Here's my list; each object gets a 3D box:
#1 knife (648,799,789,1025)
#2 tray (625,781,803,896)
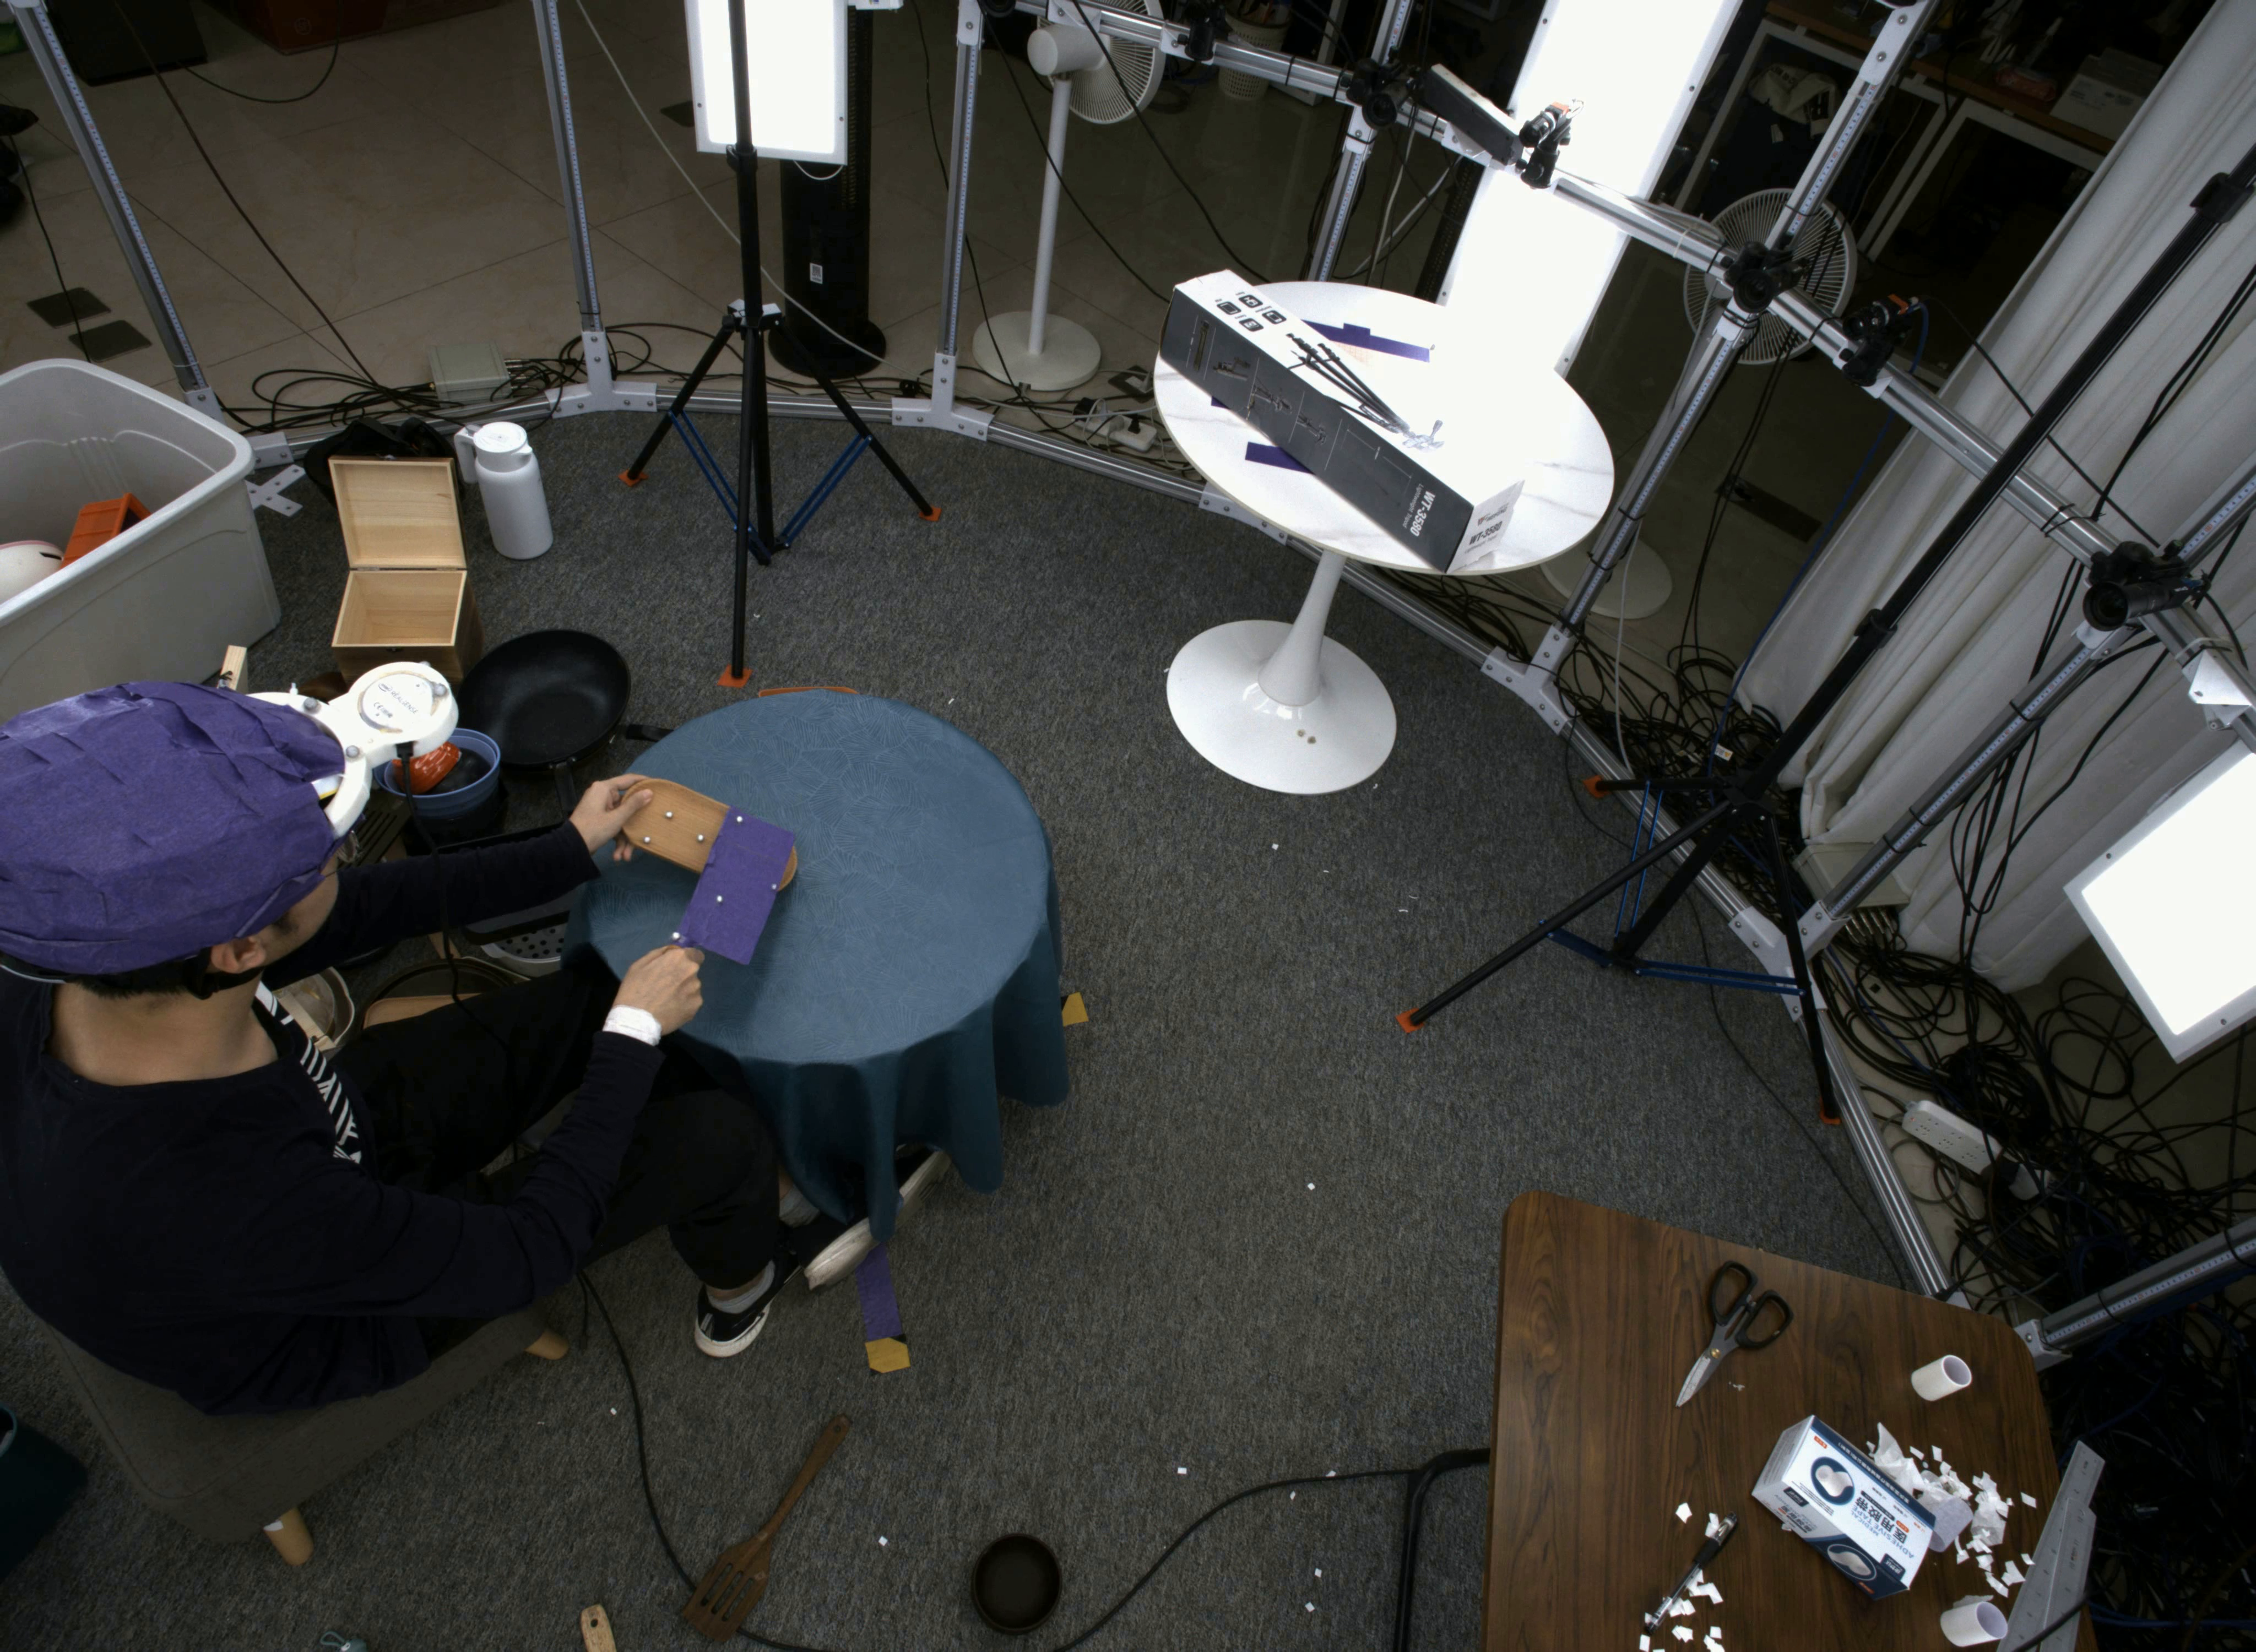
[{"bbox_3d":[-0.473,0.101,1.519,0.105,0.032,0.310,25,49,-20],"label":"knife"},{"bbox_3d":[-0.525,0.016,1.636,0.236,0.020,0.101,25,59,-24],"label":"tray"}]
